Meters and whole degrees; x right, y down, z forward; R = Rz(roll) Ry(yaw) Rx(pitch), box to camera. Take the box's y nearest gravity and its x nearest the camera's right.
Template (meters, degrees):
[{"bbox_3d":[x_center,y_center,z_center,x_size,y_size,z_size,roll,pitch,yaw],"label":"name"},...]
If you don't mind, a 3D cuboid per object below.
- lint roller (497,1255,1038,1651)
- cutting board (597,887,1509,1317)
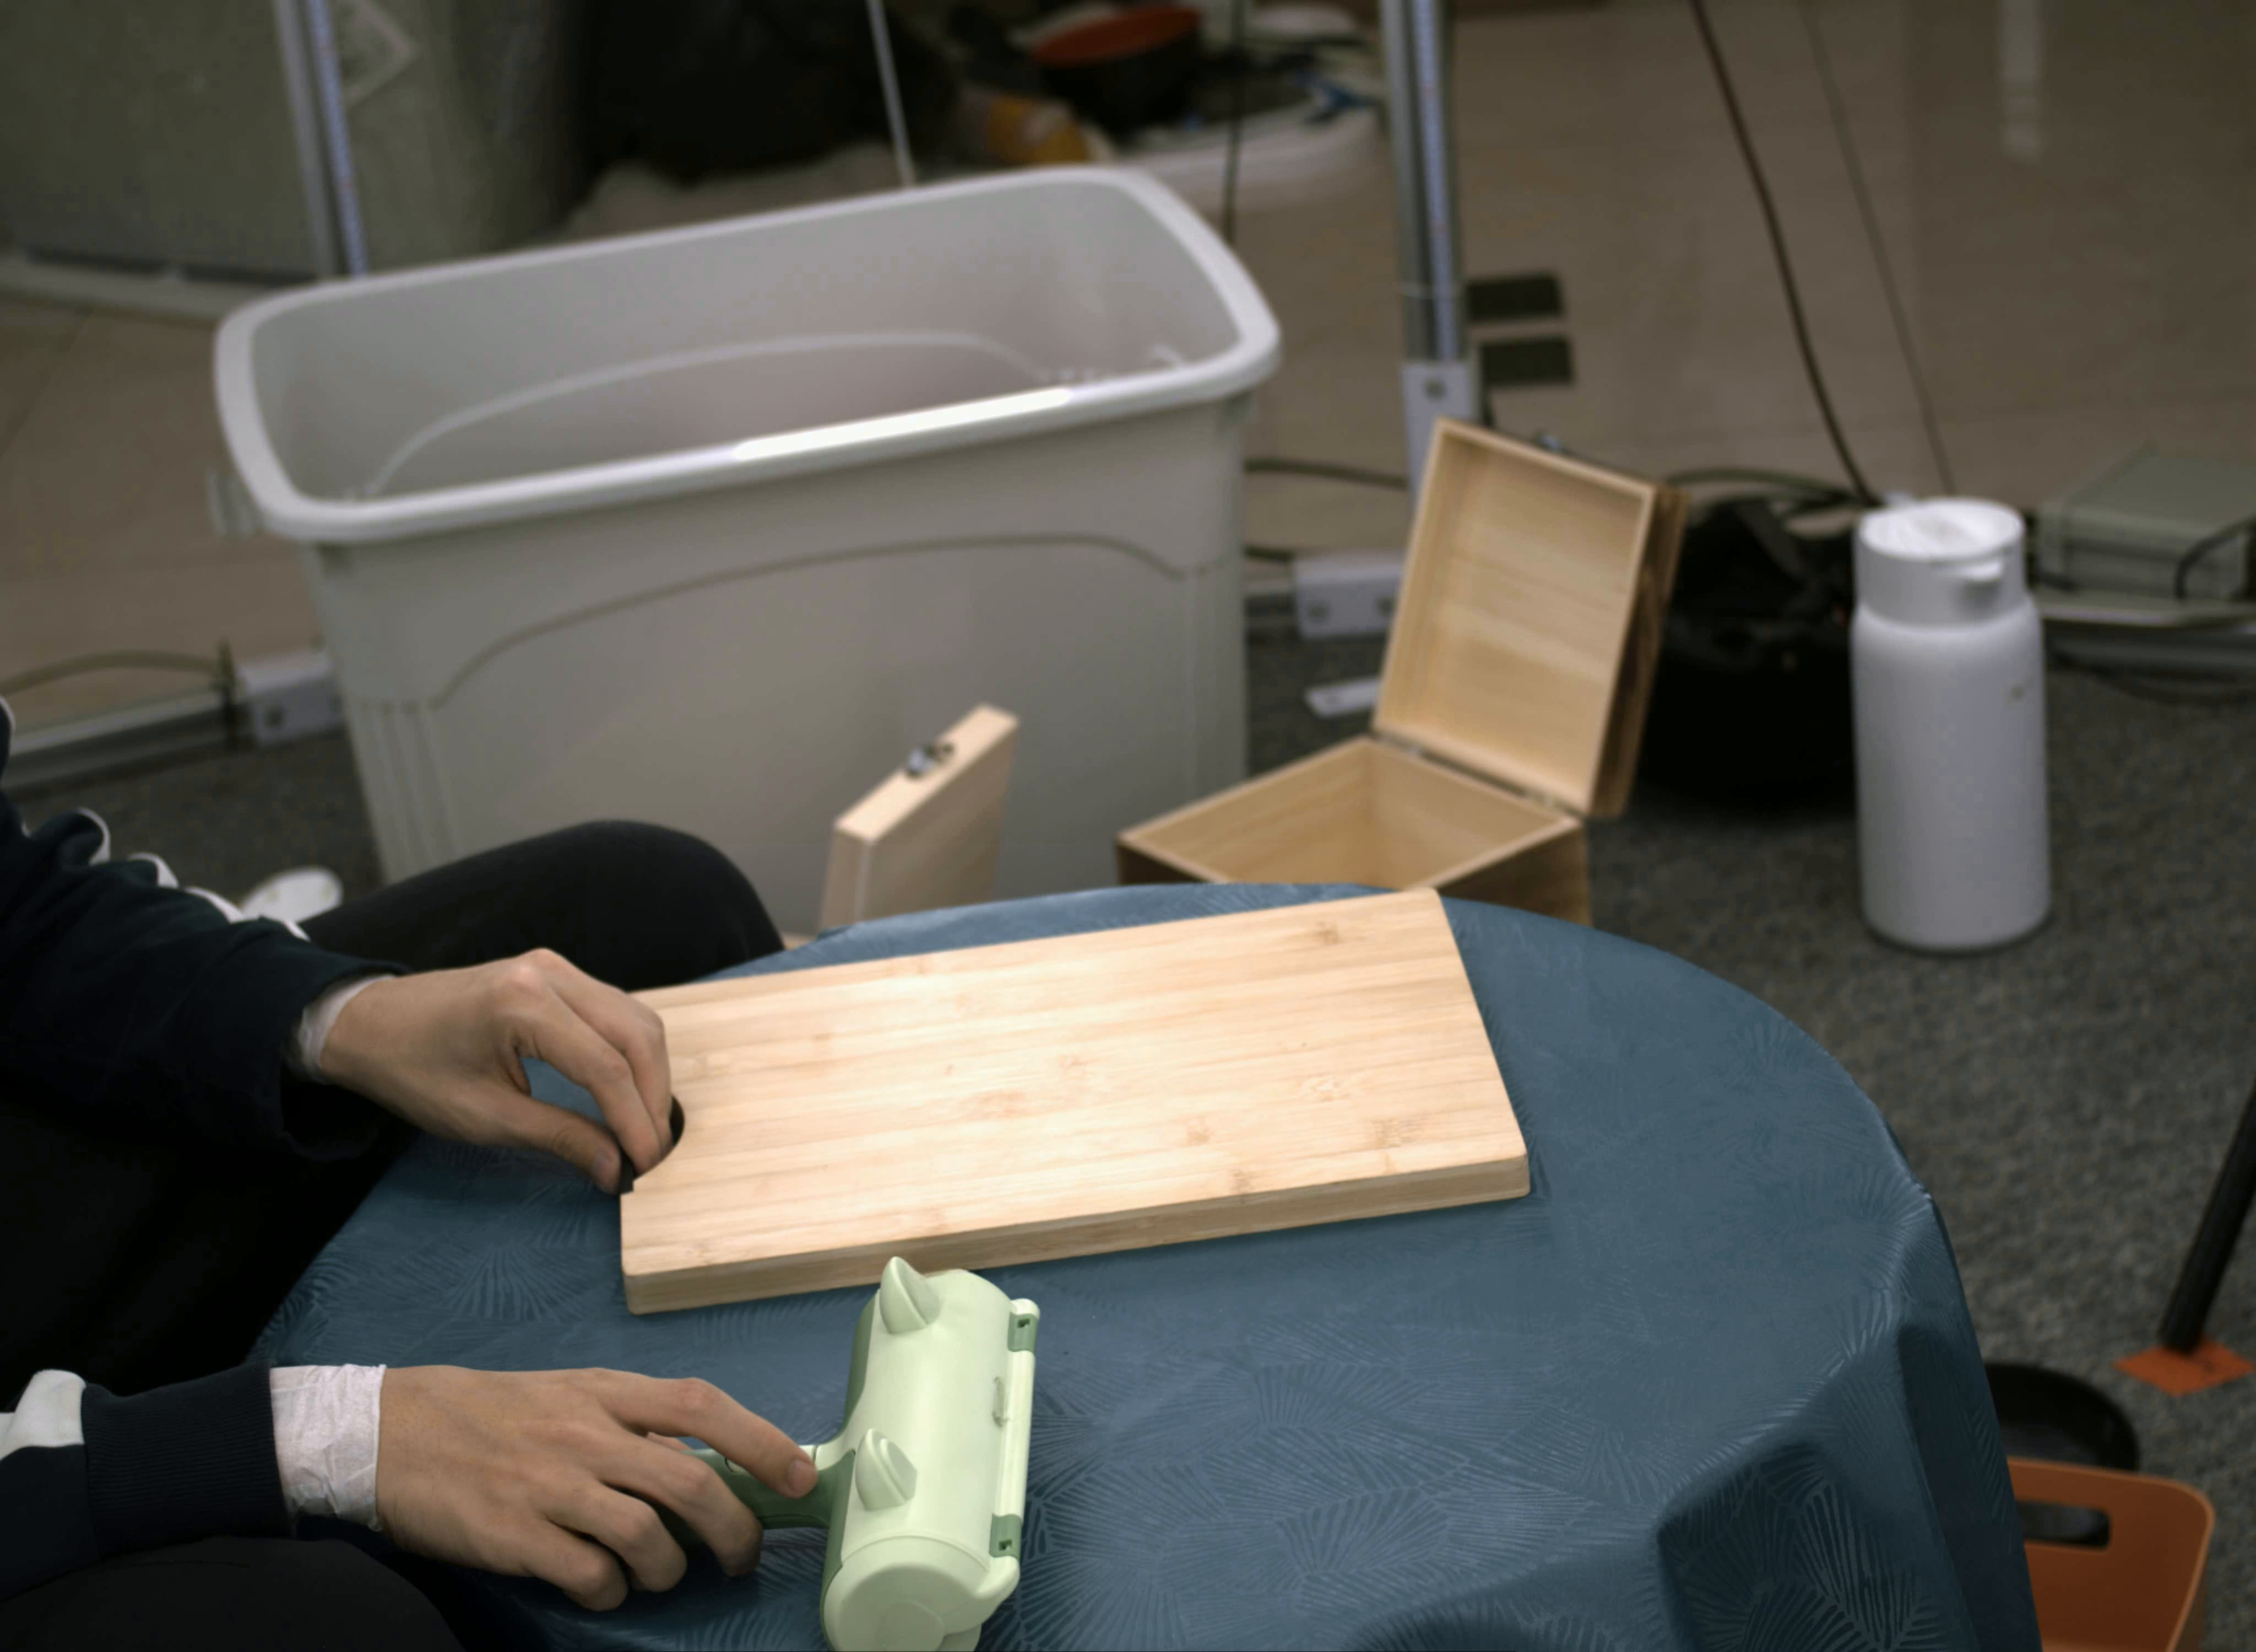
[{"bbox_3d":[-0.126,0.211,1.928,0.183,0.083,0.195,-1,26,2],"label":"lint roller"},{"bbox_3d":[-0.034,0.104,2.208,0.348,0.024,0.247,-8,25,-3],"label":"cutting board"}]
